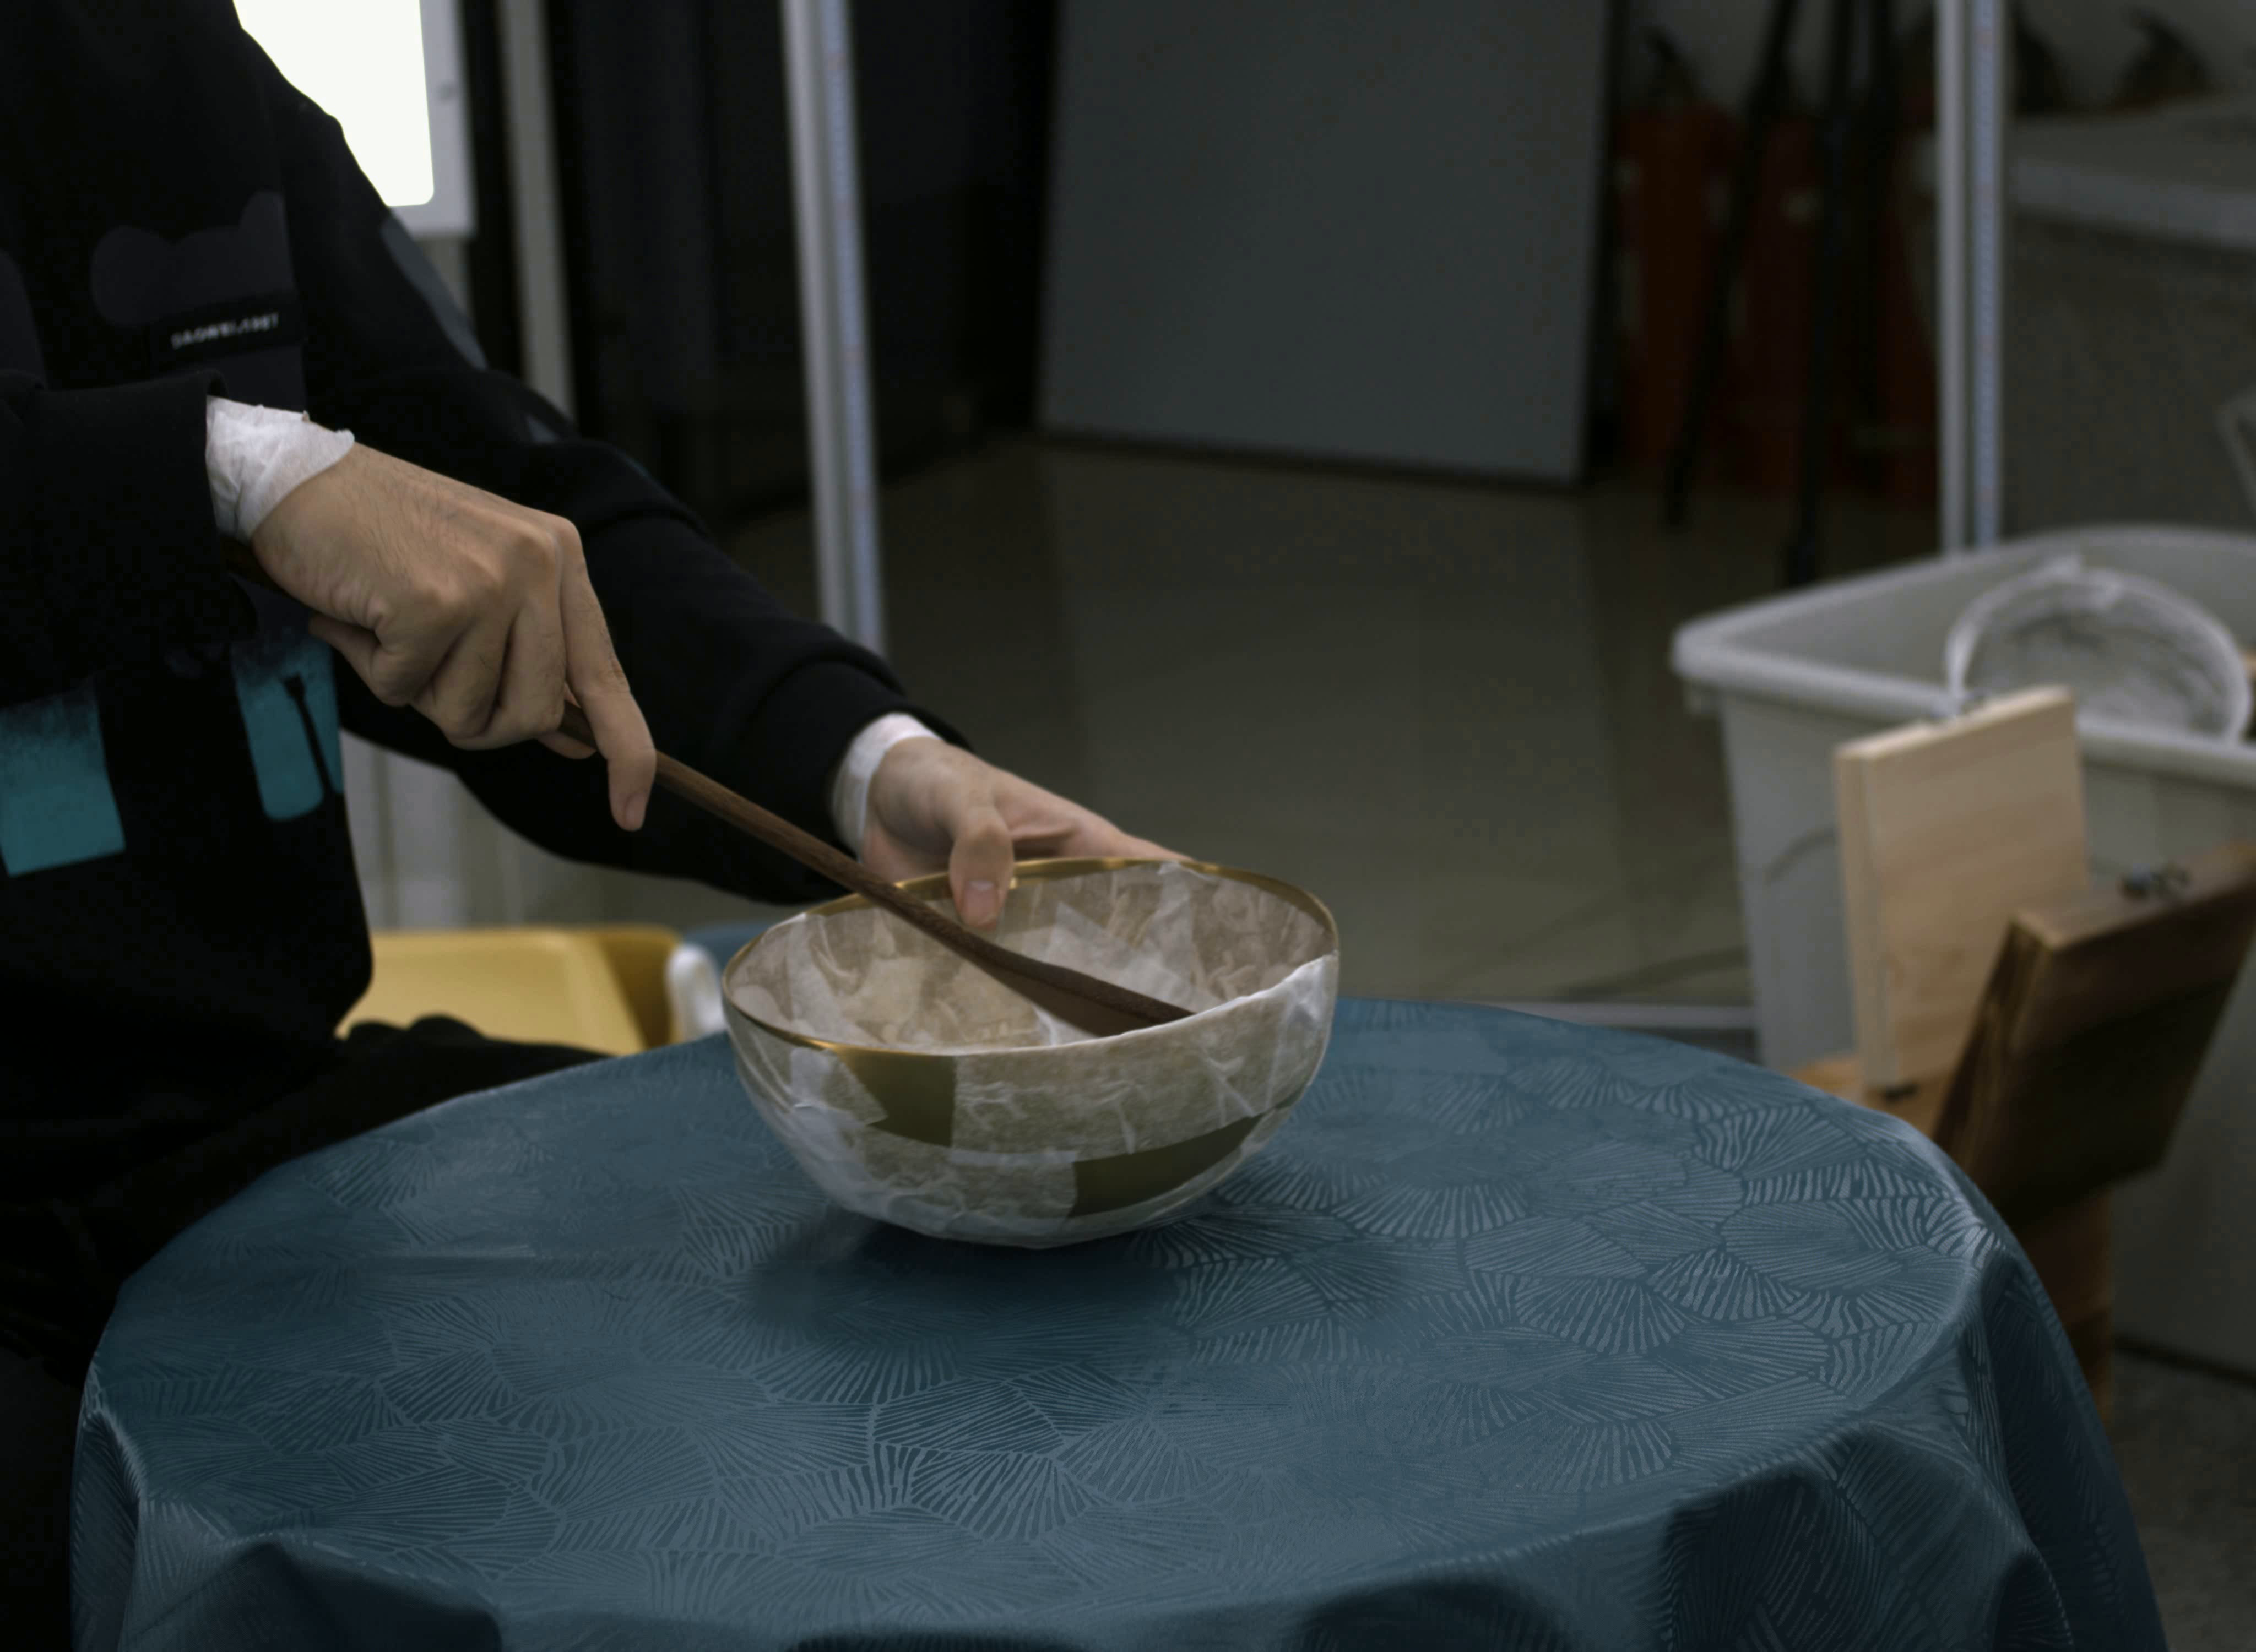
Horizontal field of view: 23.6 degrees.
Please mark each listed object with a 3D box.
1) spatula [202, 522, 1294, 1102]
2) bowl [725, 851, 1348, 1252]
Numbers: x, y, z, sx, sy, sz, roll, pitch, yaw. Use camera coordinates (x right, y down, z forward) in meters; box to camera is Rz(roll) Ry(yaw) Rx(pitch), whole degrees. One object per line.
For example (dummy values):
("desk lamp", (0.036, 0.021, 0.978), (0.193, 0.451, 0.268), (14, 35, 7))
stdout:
("spatula", (-0.118, -0.002, 1.702), (0.382, 0.016, 0.096), (29, -14, -4))
("bowl", (-0.025, 0.080, 1.739), (0.212, 0.095, 0.215), (-8, 15, 1))
